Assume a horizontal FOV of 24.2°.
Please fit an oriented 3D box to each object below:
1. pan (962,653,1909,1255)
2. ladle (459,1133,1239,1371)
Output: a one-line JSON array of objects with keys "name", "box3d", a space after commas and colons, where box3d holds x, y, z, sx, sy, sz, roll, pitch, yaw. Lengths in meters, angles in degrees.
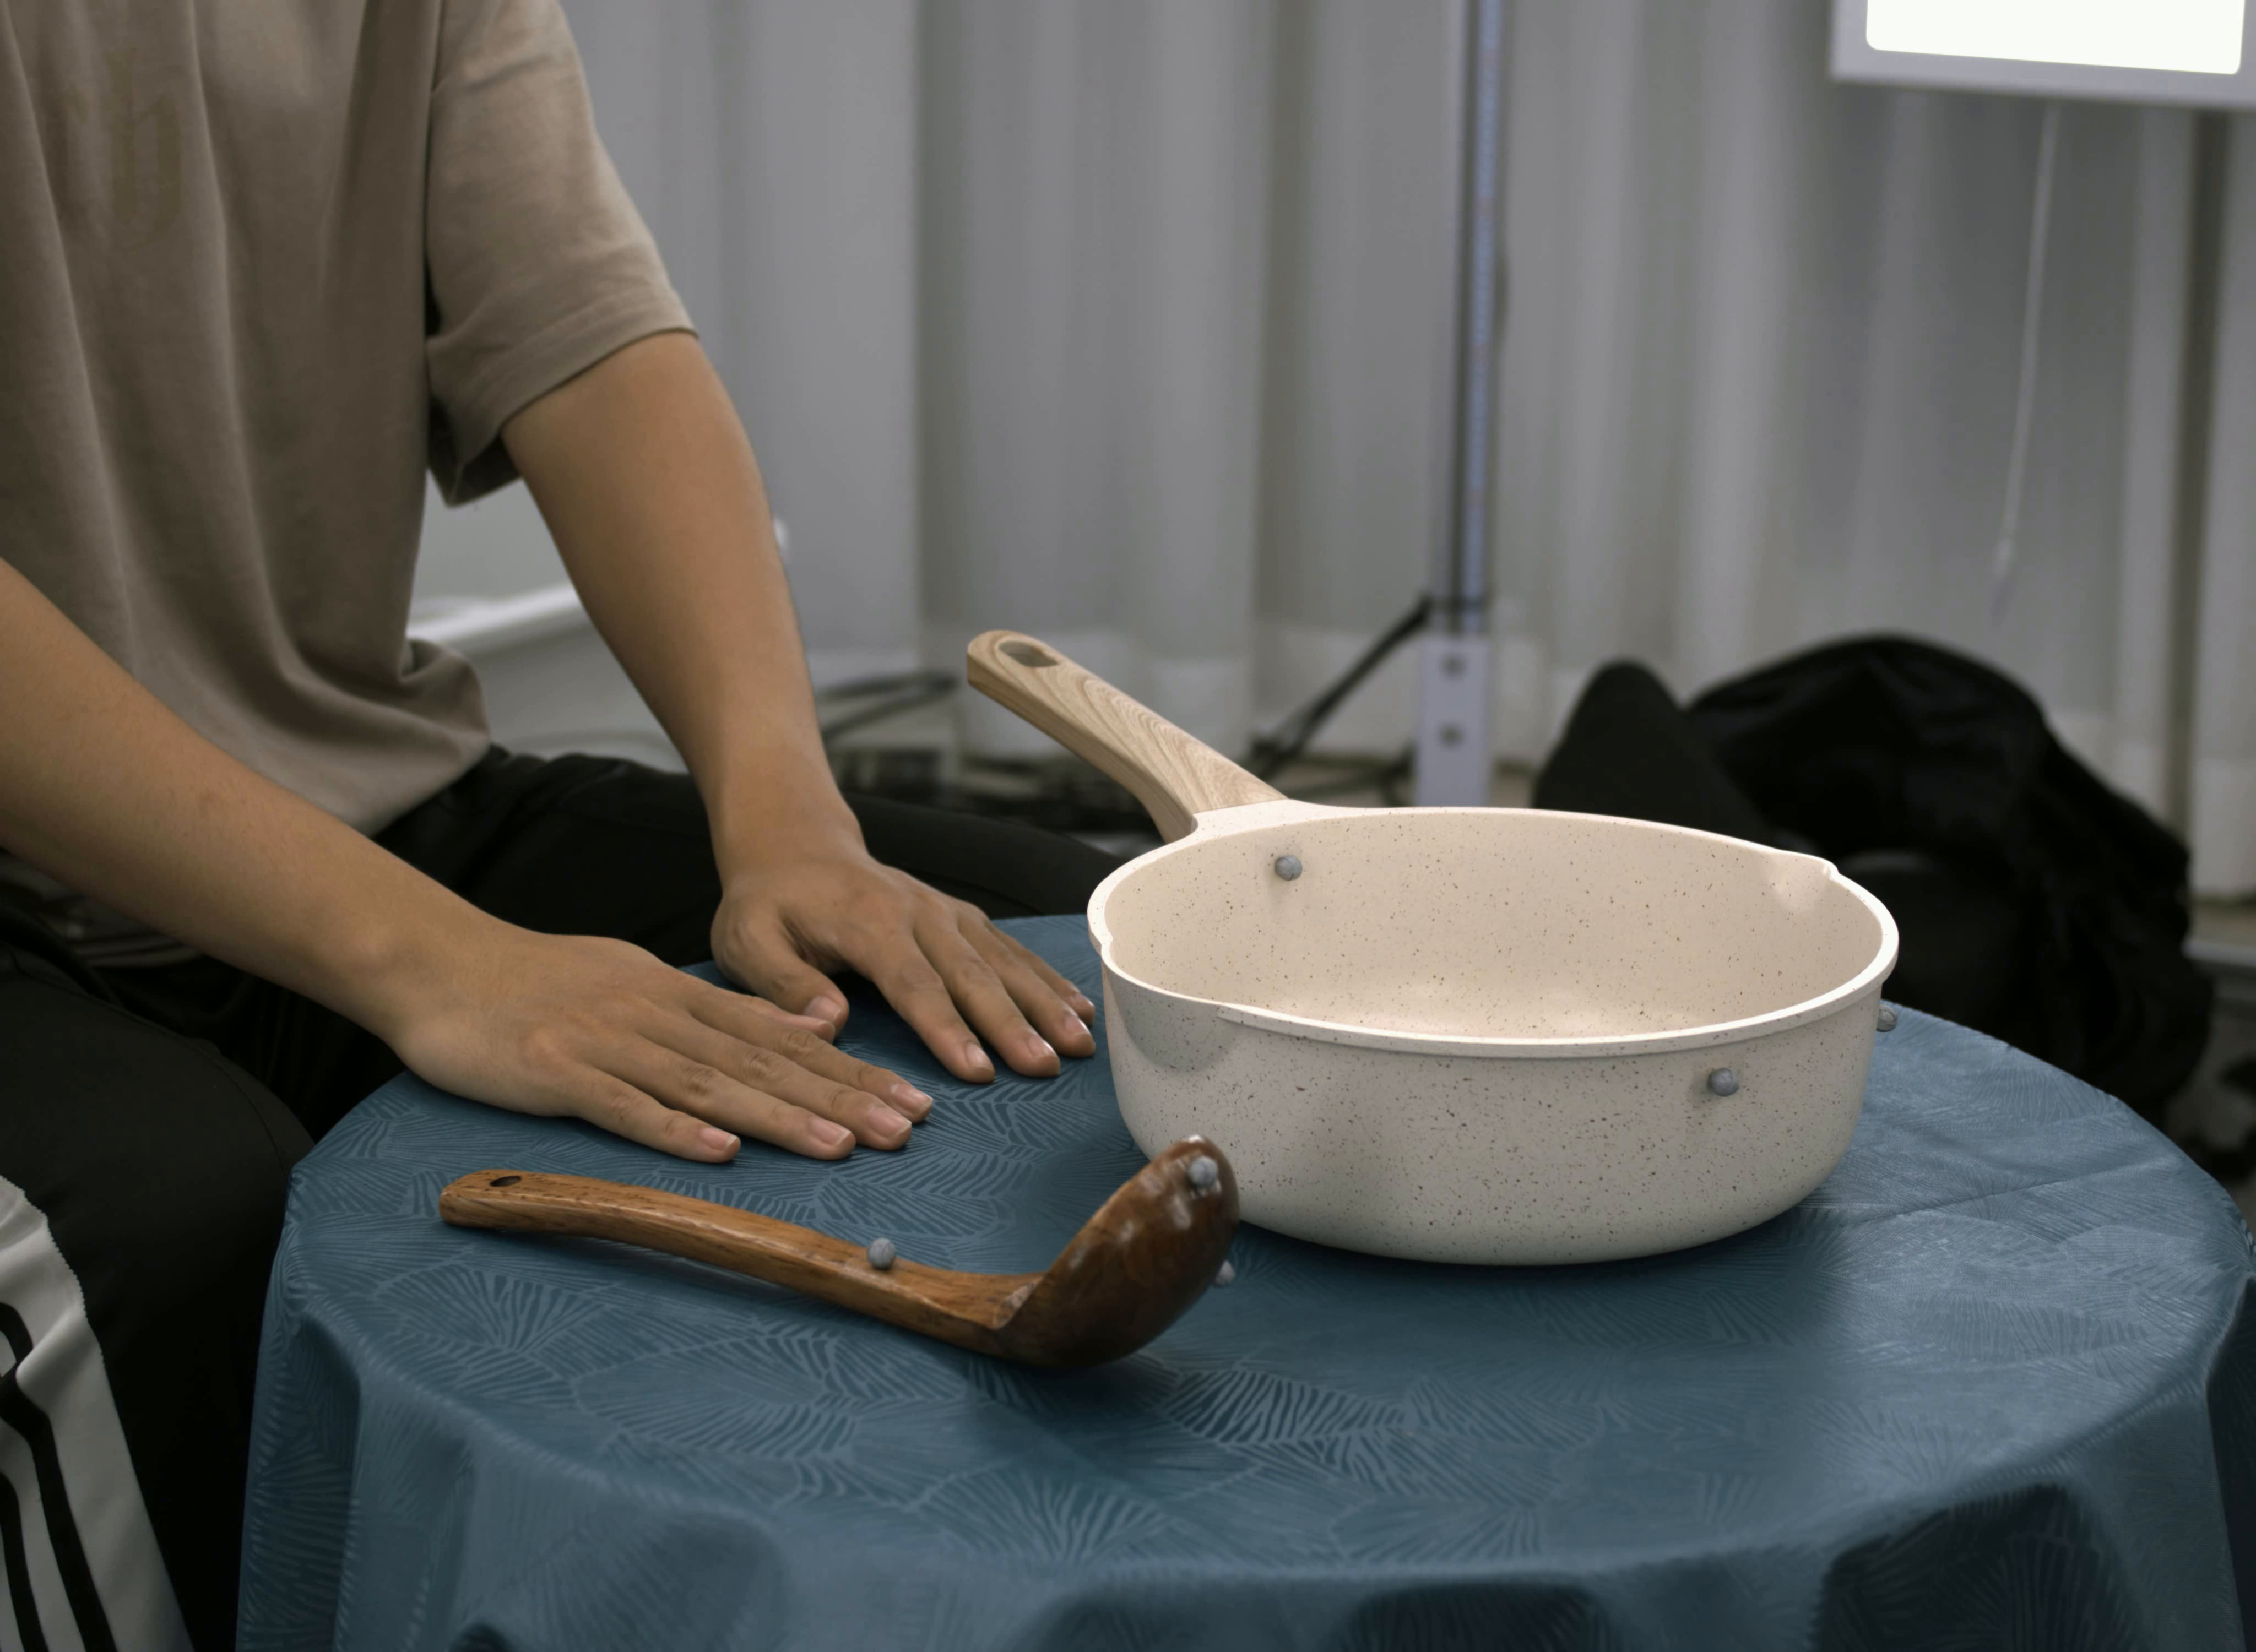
[{"name": "pan", "box3d": [0.068, 0.036, 1.718, 0.264, 0.103, 0.429, -11, 19, -31]}, {"name": "ladle", "box3d": [-0.089, 0.102, 1.512, 0.270, 0.077, 0.082, 12, 21, 33]}]
